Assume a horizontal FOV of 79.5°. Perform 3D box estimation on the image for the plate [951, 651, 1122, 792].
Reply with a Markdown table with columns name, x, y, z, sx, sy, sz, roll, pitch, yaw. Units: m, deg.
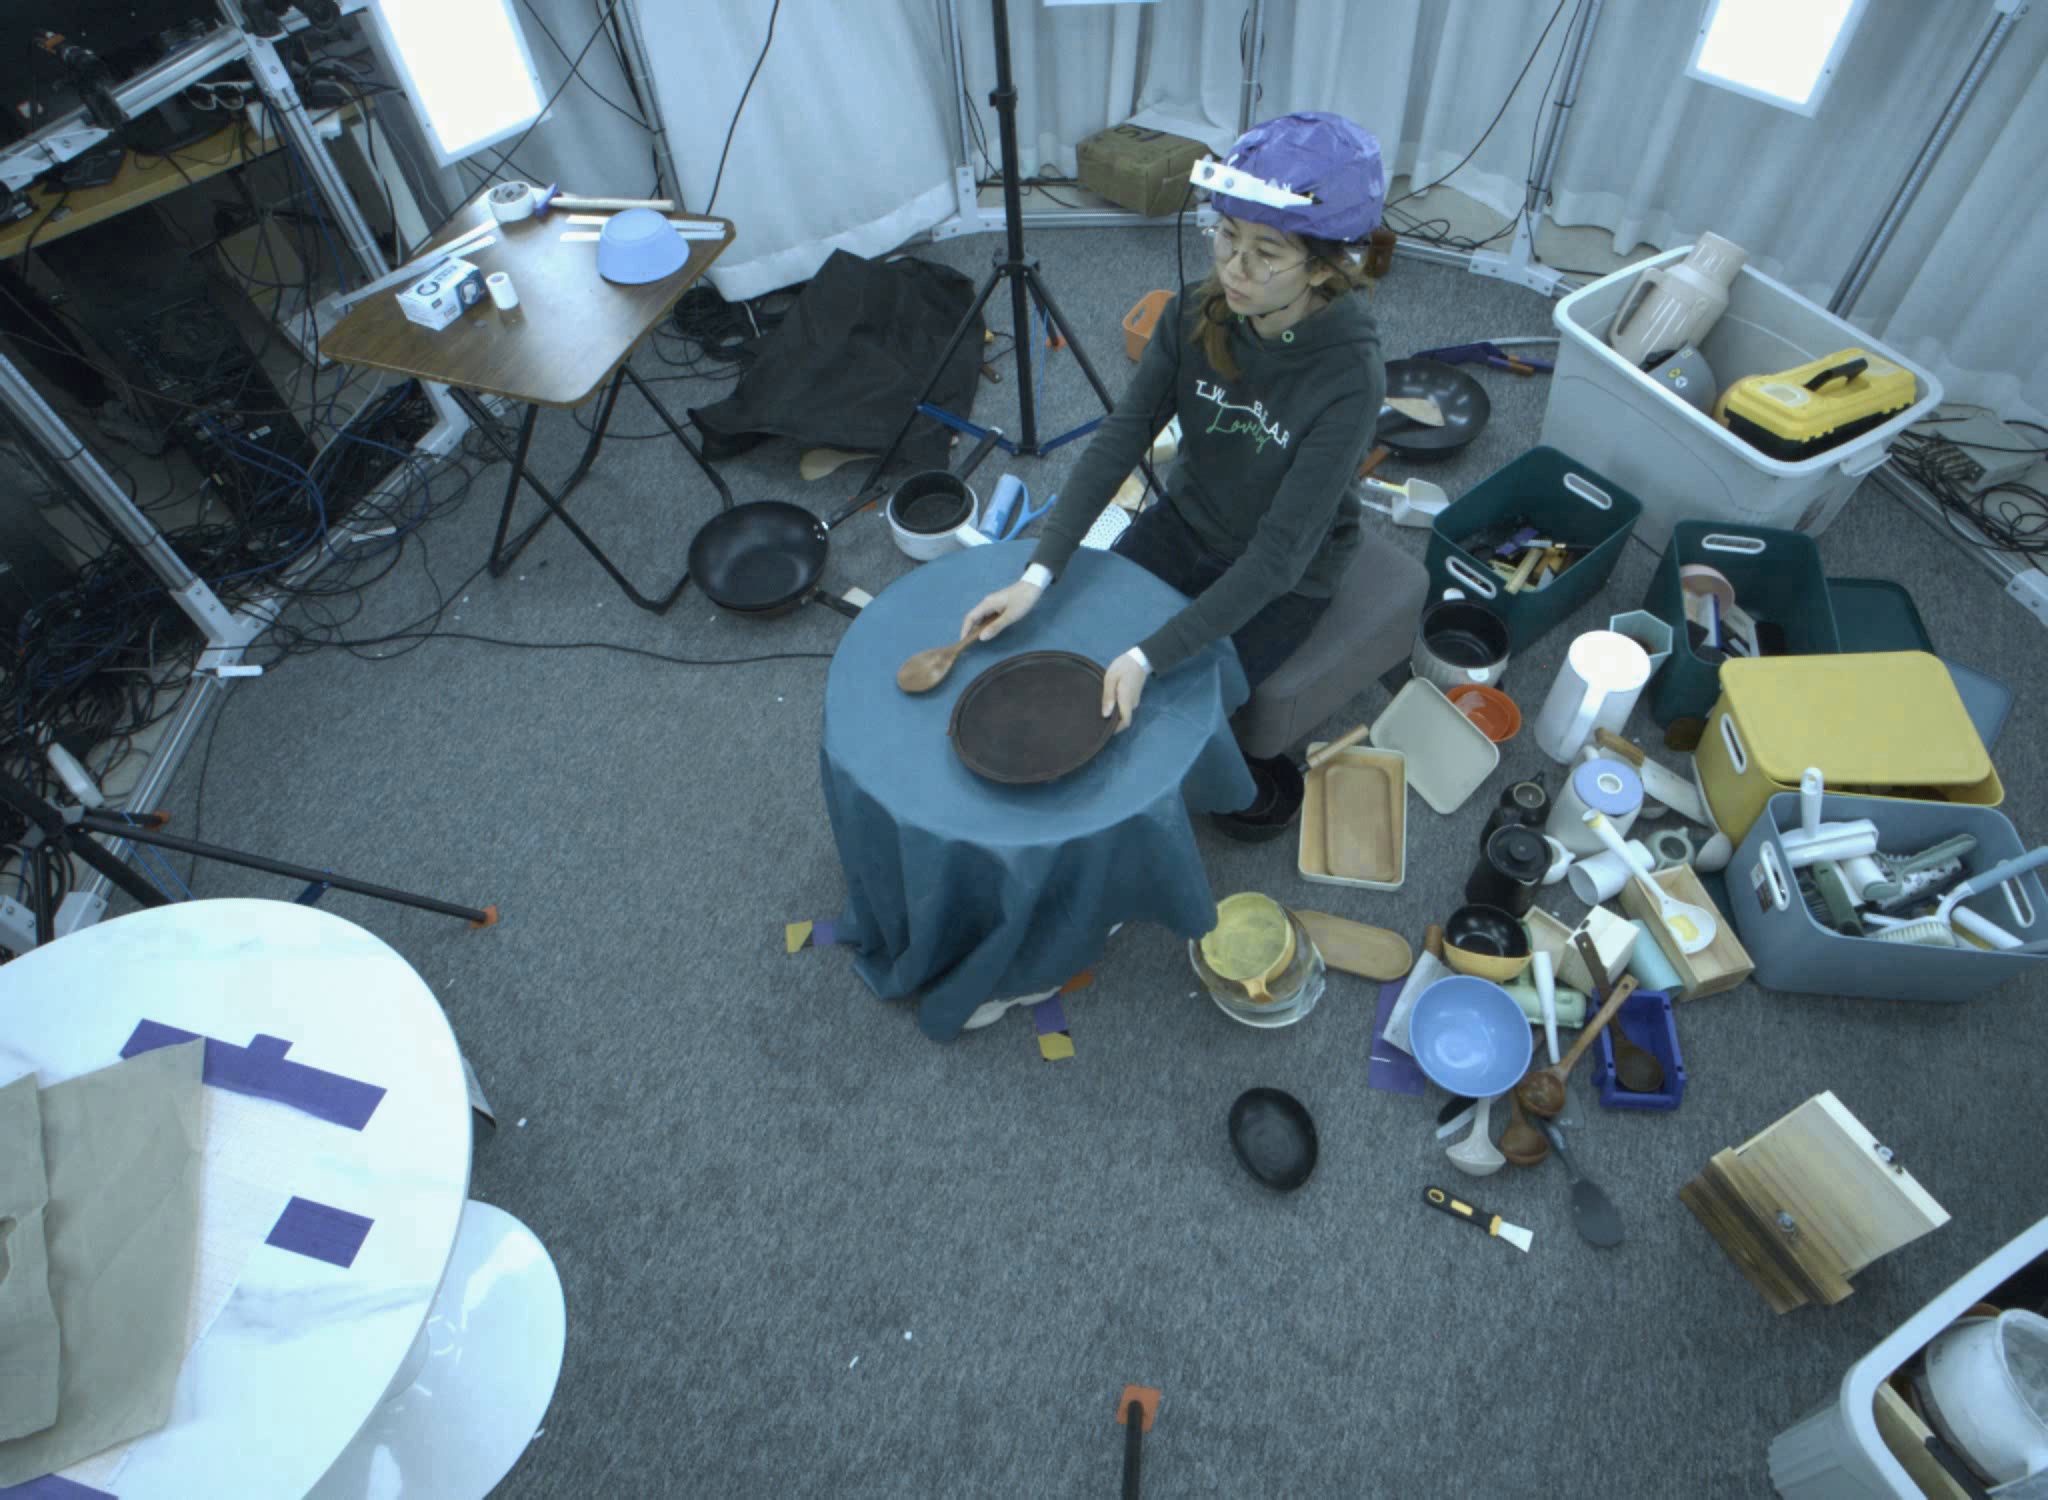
| name | x | y | z | sx | sy | sz | roll | pitch | yaw |
| --- | --- | --- | --- | --- | --- | --- | --- | --- | --- |
| plate | 0.018 | -0.042 | 1.789 | 0.253 | 0.029 | 0.252 | -6 | 52 | 9 |

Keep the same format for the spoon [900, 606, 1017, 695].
| name | x | y | z | sx | sy | sz | roll | pitch | yaw |
| --- | --- | --- | --- | --- | --- | --- | --- | --- | --- |
| spoon | -0.098 | -0.152 | 1.883 | 0.217 | 0.017 | 0.074 | -38 | 52 | -13 |
